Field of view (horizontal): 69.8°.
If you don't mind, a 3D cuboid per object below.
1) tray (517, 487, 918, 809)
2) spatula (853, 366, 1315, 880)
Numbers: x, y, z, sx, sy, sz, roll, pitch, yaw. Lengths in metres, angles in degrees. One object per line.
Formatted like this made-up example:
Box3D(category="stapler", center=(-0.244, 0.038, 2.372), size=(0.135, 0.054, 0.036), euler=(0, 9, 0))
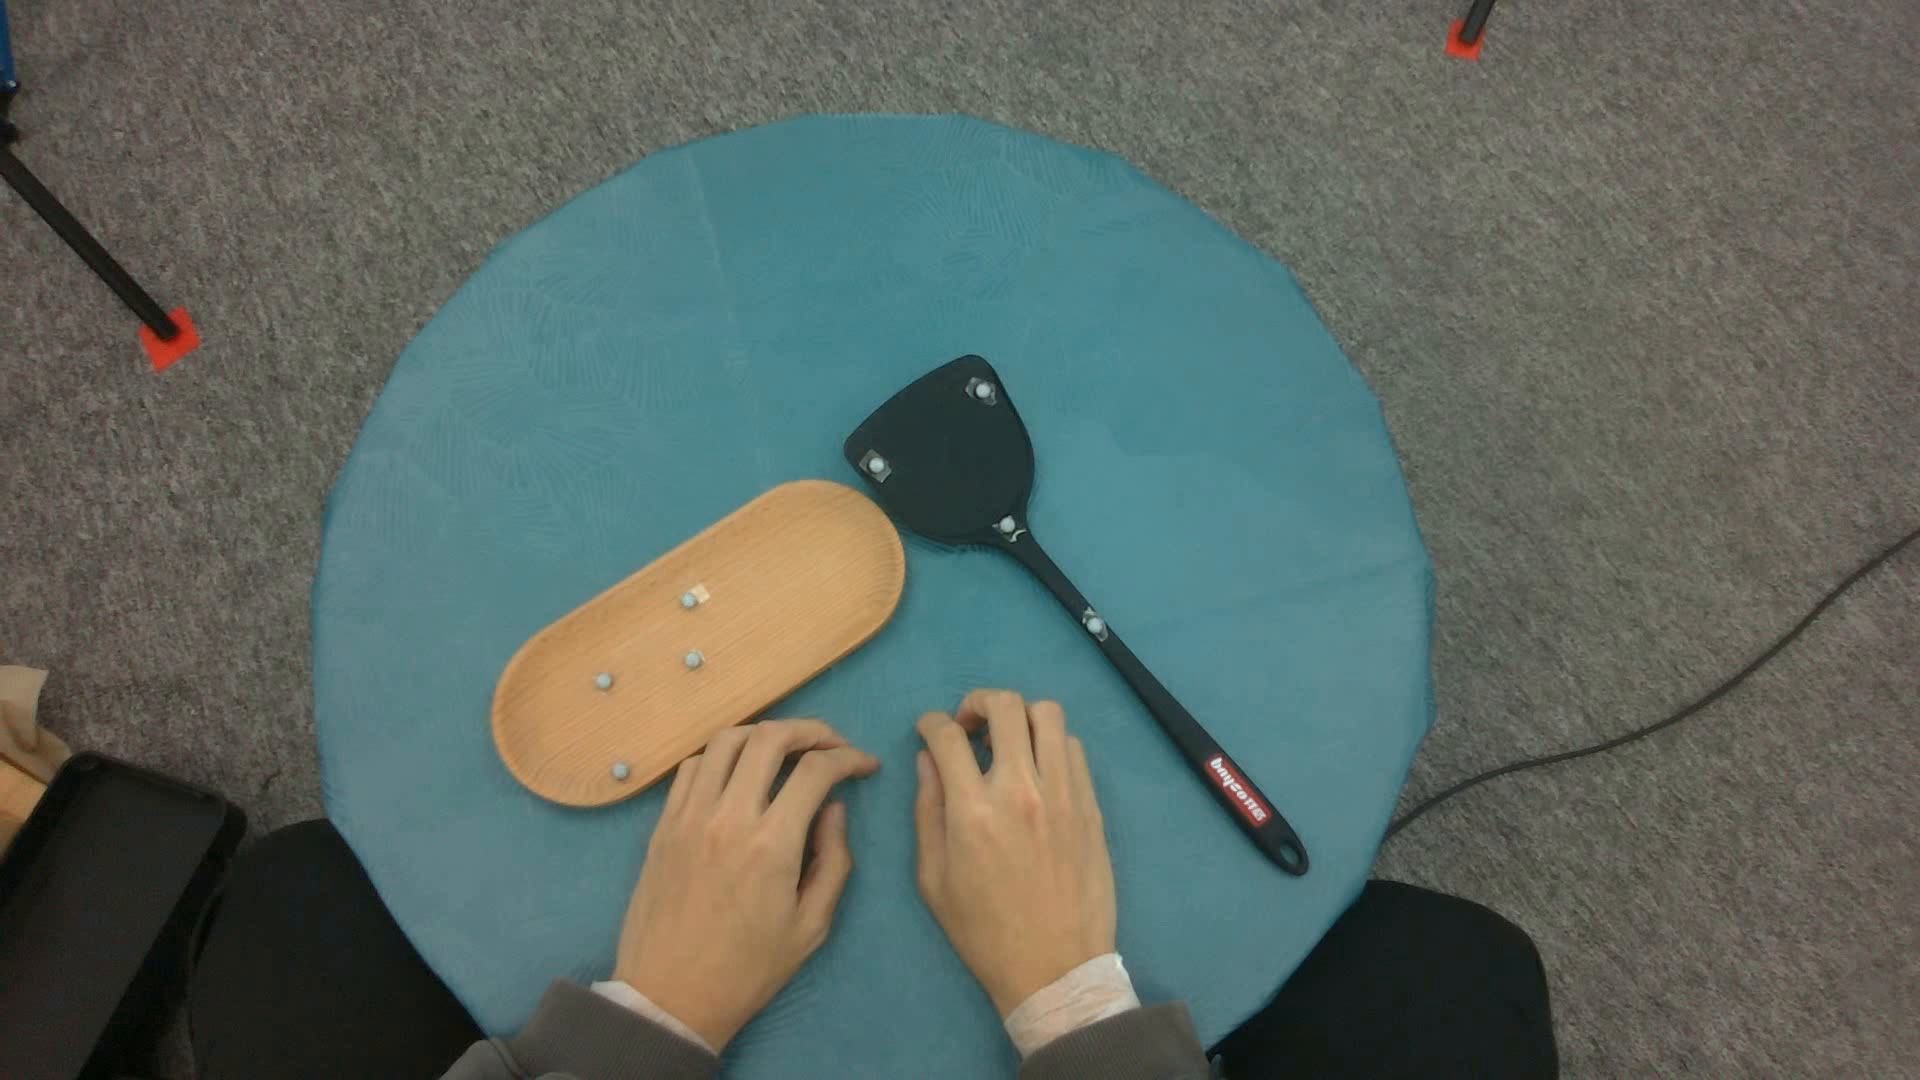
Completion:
Box3D(category="tray", center=(-0.126, 0.055, 0.736), size=(0.232, 0.020, 0.102), euler=(-33, 72, -14))
Box3D(category="spatula", center=(0.075, 0.048, 0.730), size=(0.100, 0.040, 0.326), euler=(-37, 73, -13))
